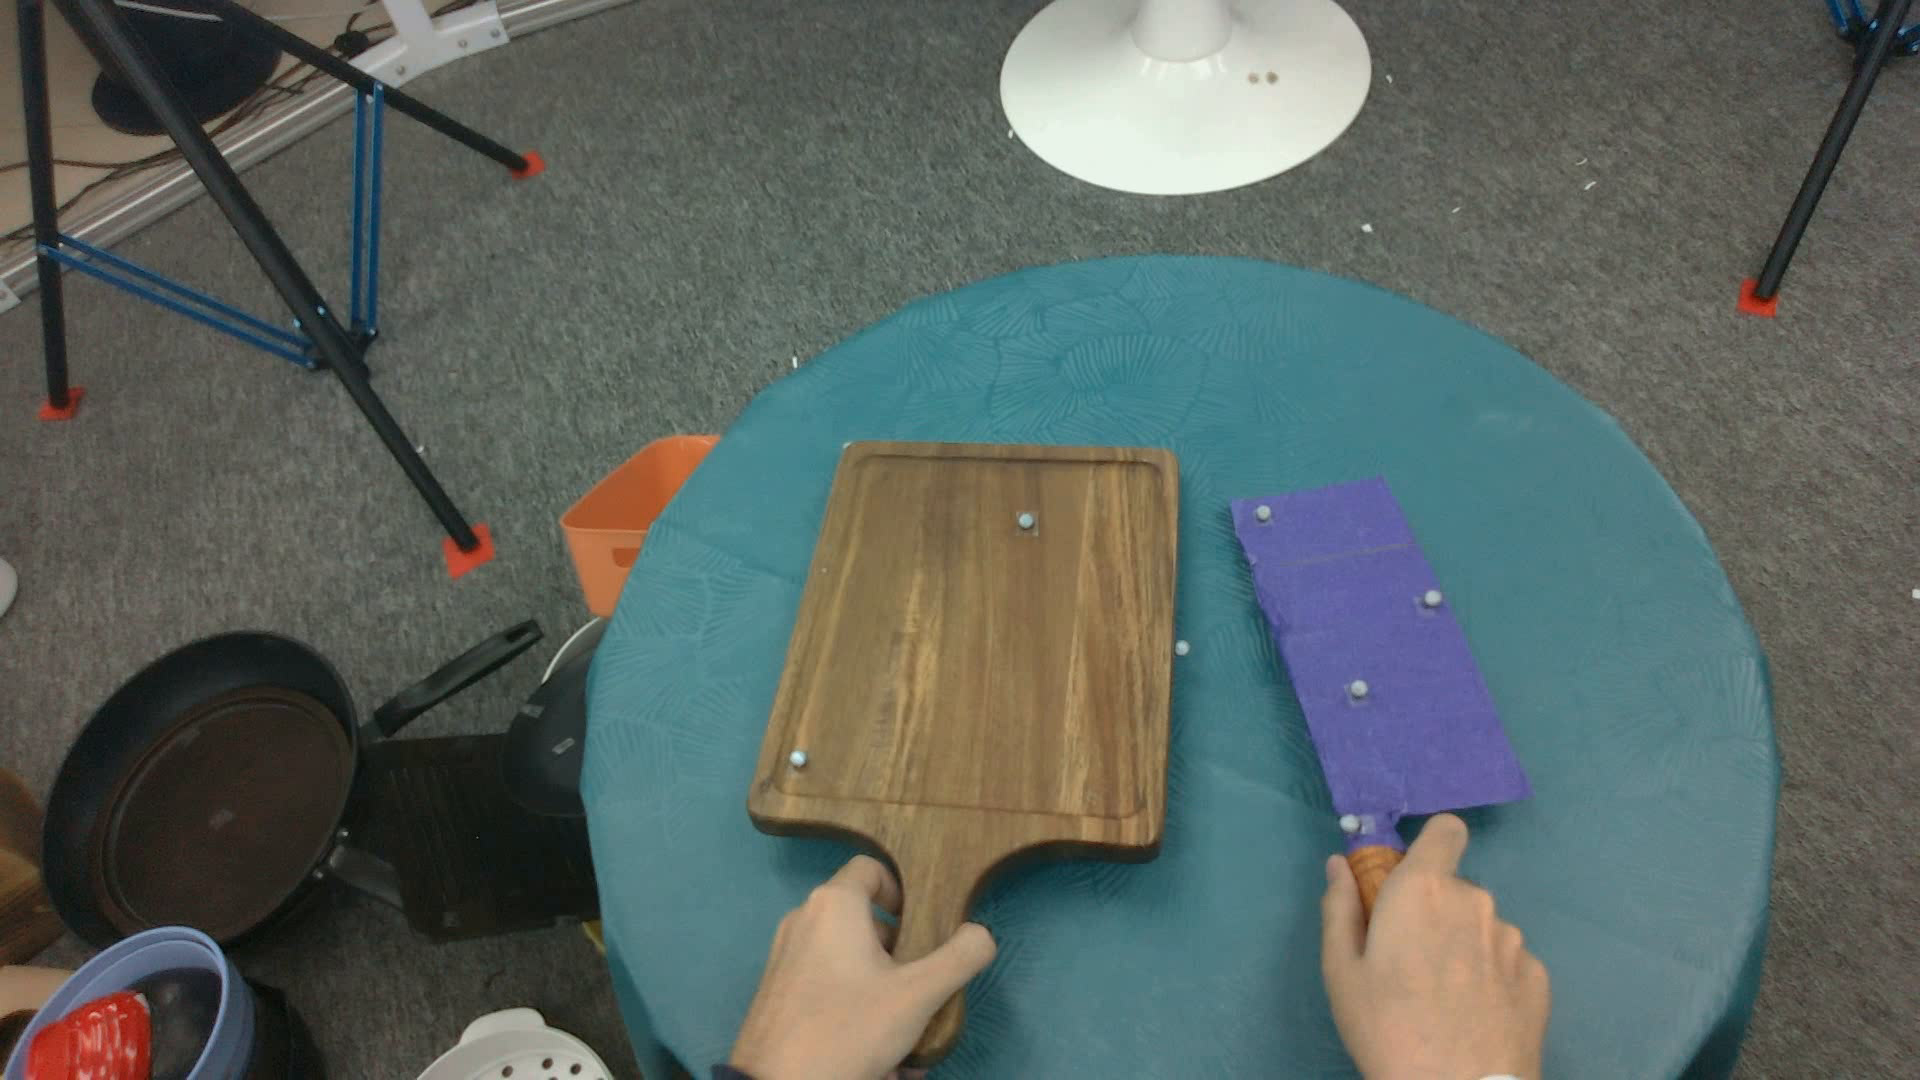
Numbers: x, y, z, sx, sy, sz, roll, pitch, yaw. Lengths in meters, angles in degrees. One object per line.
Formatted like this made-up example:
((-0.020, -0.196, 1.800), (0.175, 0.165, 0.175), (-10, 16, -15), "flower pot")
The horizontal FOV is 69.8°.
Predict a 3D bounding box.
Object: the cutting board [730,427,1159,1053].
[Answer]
((-0.004, 0.074, 0.682), (0.201, 0.023, 0.354), (2, 50, 8), "cutting board")

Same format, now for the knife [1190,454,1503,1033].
((0.201, 0.072, 0.662), (0.104, 0.032, 0.316), (-10, 51, -2), "knife")
